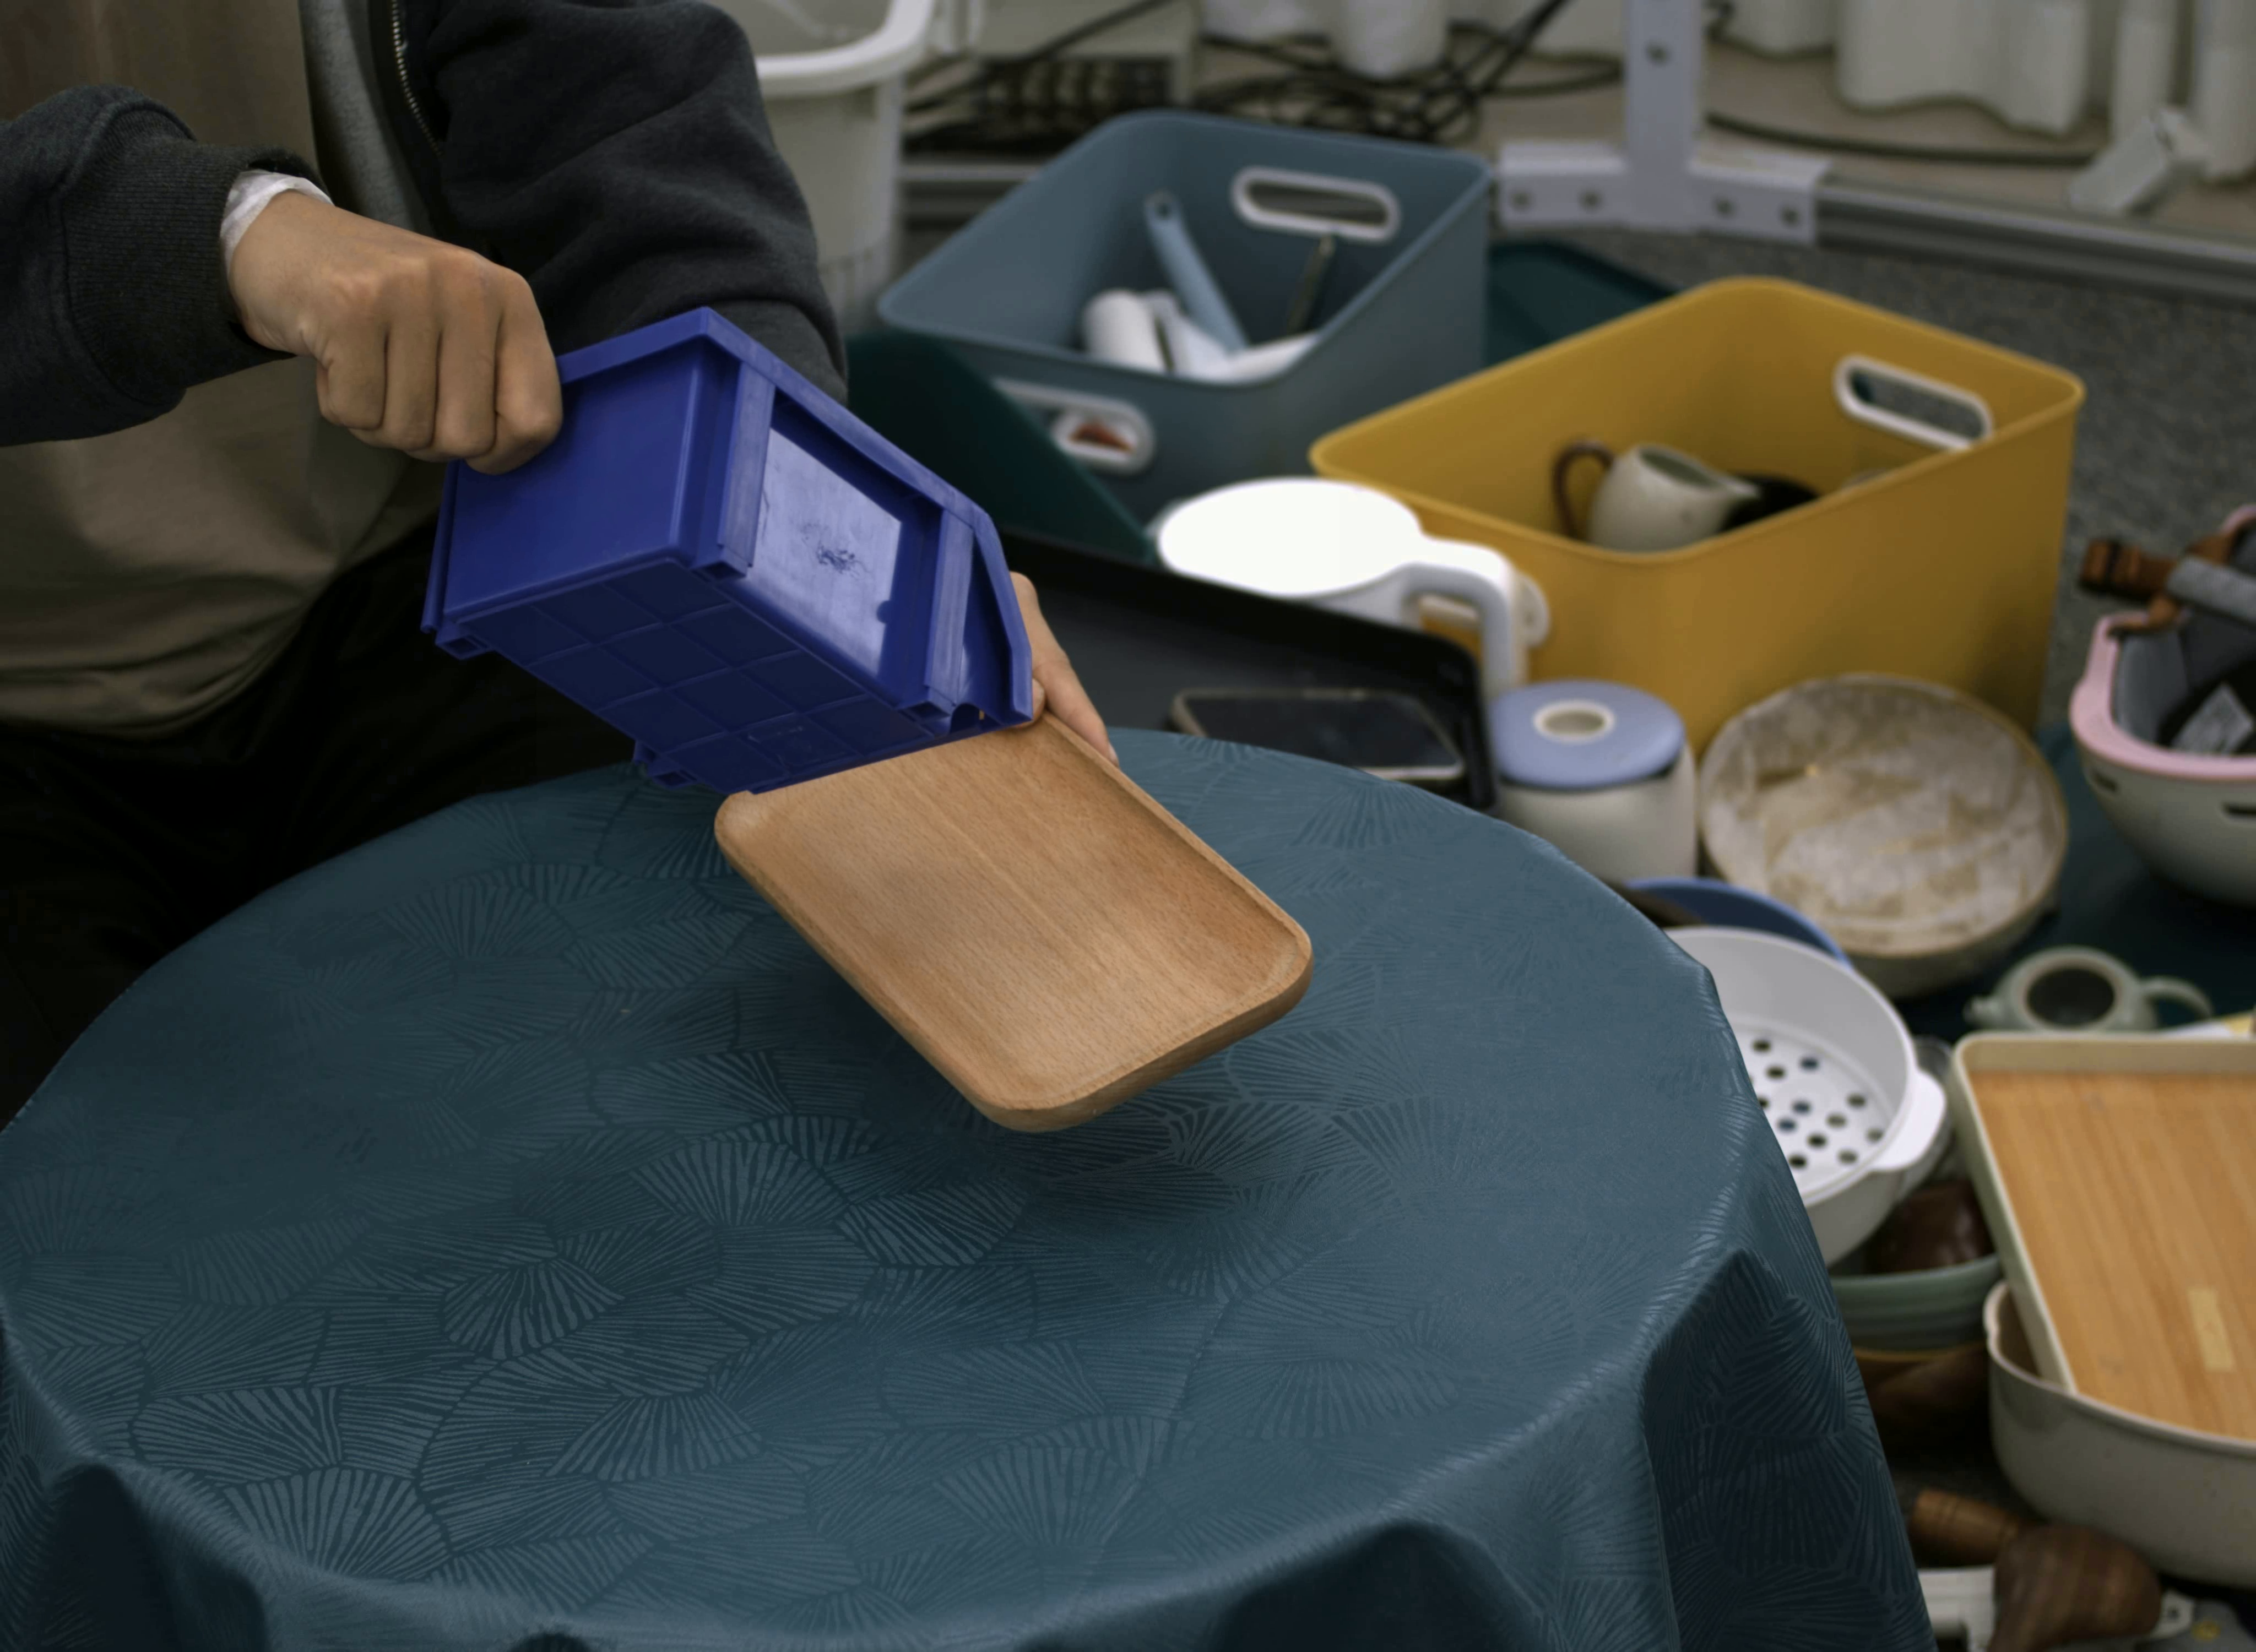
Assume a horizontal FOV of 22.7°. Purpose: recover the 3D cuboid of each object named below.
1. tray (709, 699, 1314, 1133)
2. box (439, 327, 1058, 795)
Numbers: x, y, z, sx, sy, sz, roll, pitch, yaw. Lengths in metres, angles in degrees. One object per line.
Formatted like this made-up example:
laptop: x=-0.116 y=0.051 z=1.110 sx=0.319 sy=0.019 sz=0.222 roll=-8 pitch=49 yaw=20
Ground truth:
tray: x=-0.042 y=0.024 z=1.914 sx=0.131 sy=0.022 sz=0.252 roll=-24 pitch=34 yaw=-19
box: x=-0.125 y=-0.076 z=1.835 sx=0.123 sy=0.178 sz=0.083 roll=-16 pitch=60 yaw=35
